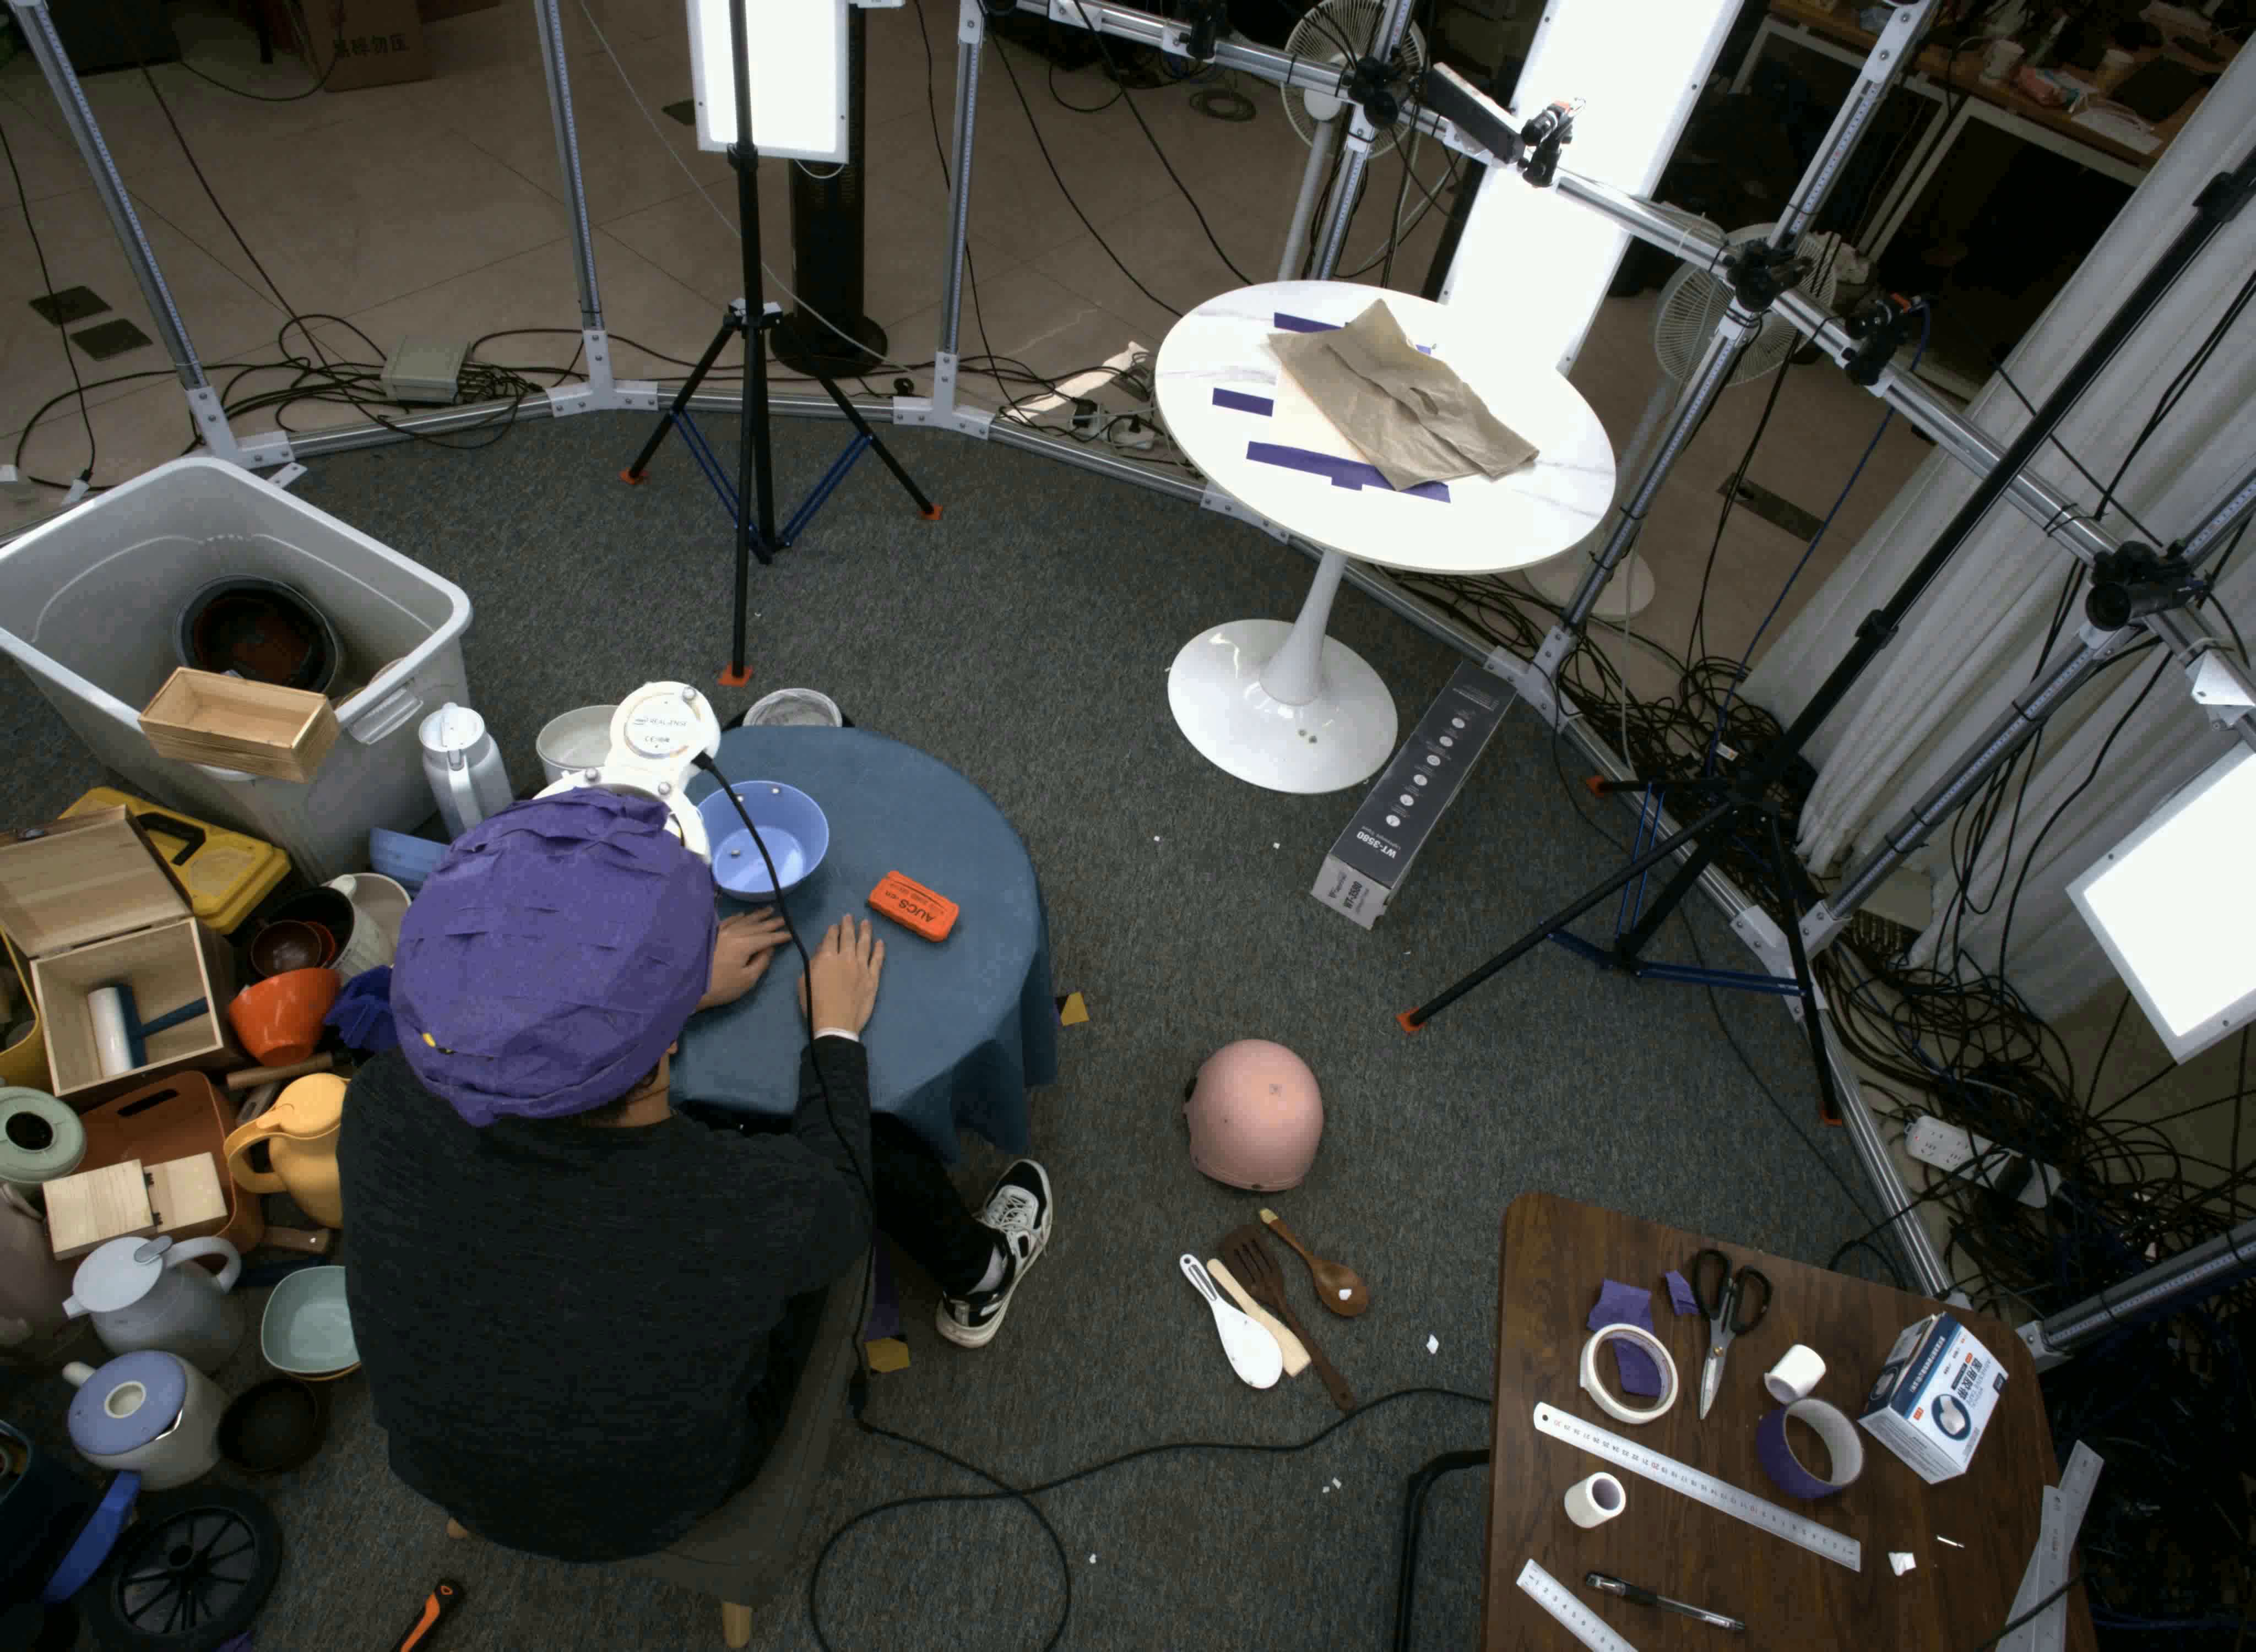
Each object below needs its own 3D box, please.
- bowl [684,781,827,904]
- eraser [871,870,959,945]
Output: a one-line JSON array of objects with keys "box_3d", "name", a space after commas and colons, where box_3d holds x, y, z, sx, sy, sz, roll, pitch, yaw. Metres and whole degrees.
[{"box_3d": [-0.470, 0.031, 1.639, 0.176, 0.071, 0.173, 8, 52, -9], "name": "bowl"}, {"box_3d": [-0.273, 0.102, 1.667, 0.106, 0.023, 0.059, 29, 49, 7], "name": "eraser"}]
